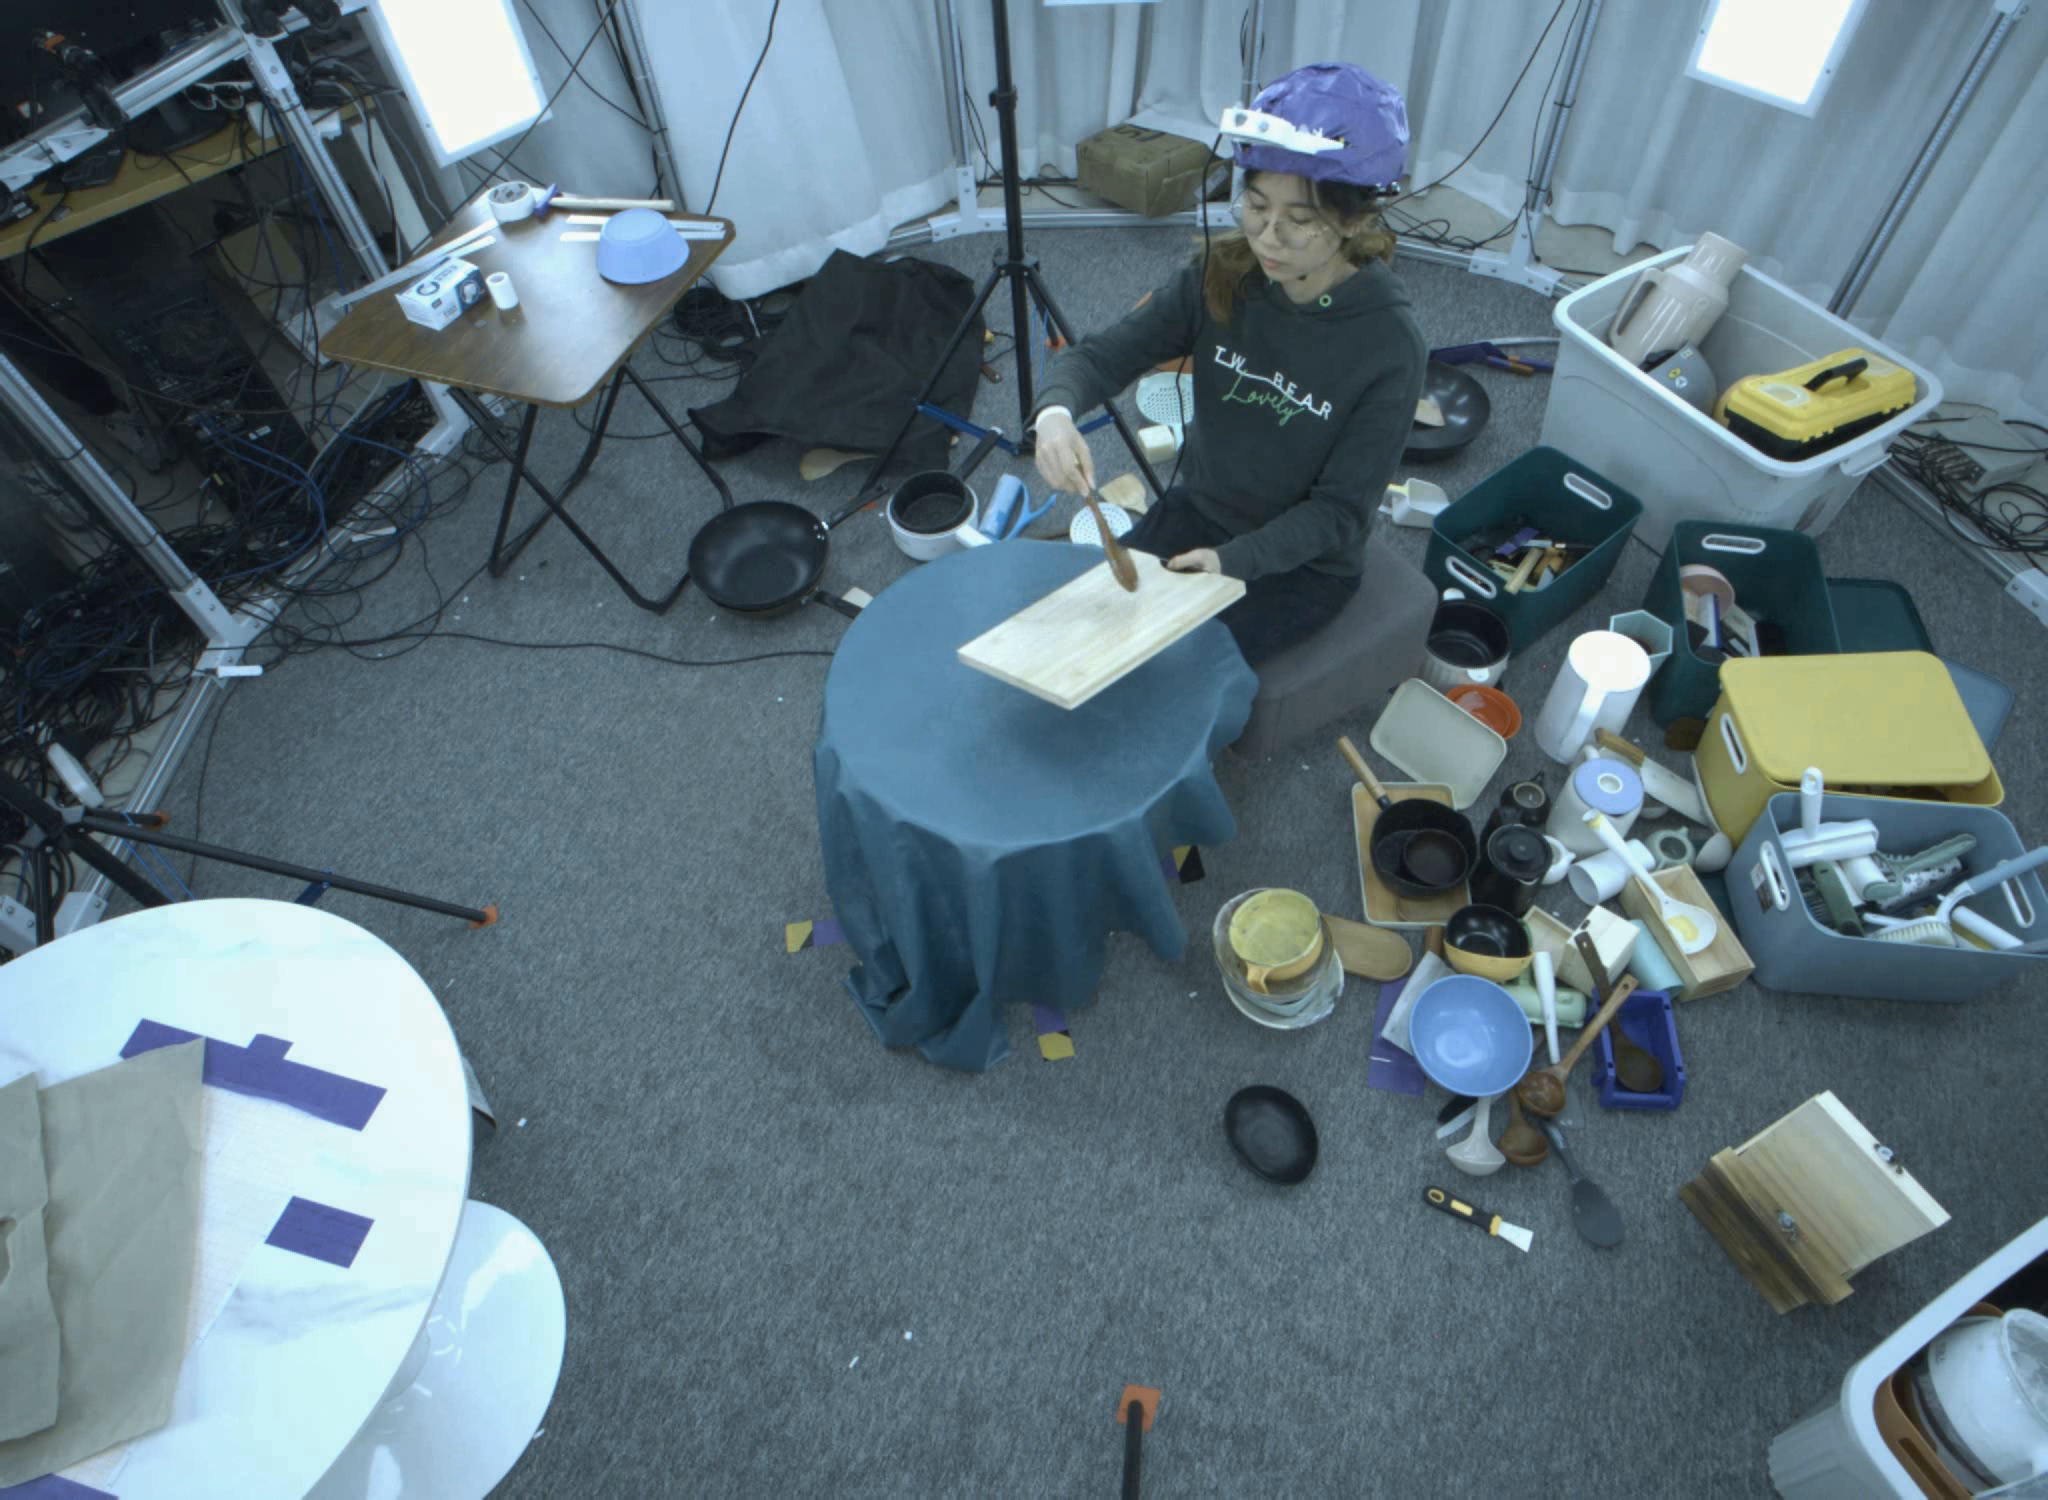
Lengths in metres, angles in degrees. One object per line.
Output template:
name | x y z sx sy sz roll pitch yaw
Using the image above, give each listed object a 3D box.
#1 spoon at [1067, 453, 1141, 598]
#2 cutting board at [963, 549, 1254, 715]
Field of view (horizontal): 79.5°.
spoon | 0.106 -0.304 1.663 0.017 0.218 0.076 -17 17 30
cutting board | 0.116 -0.176 1.726 0.352 0.024 0.245 -35 41 -28
